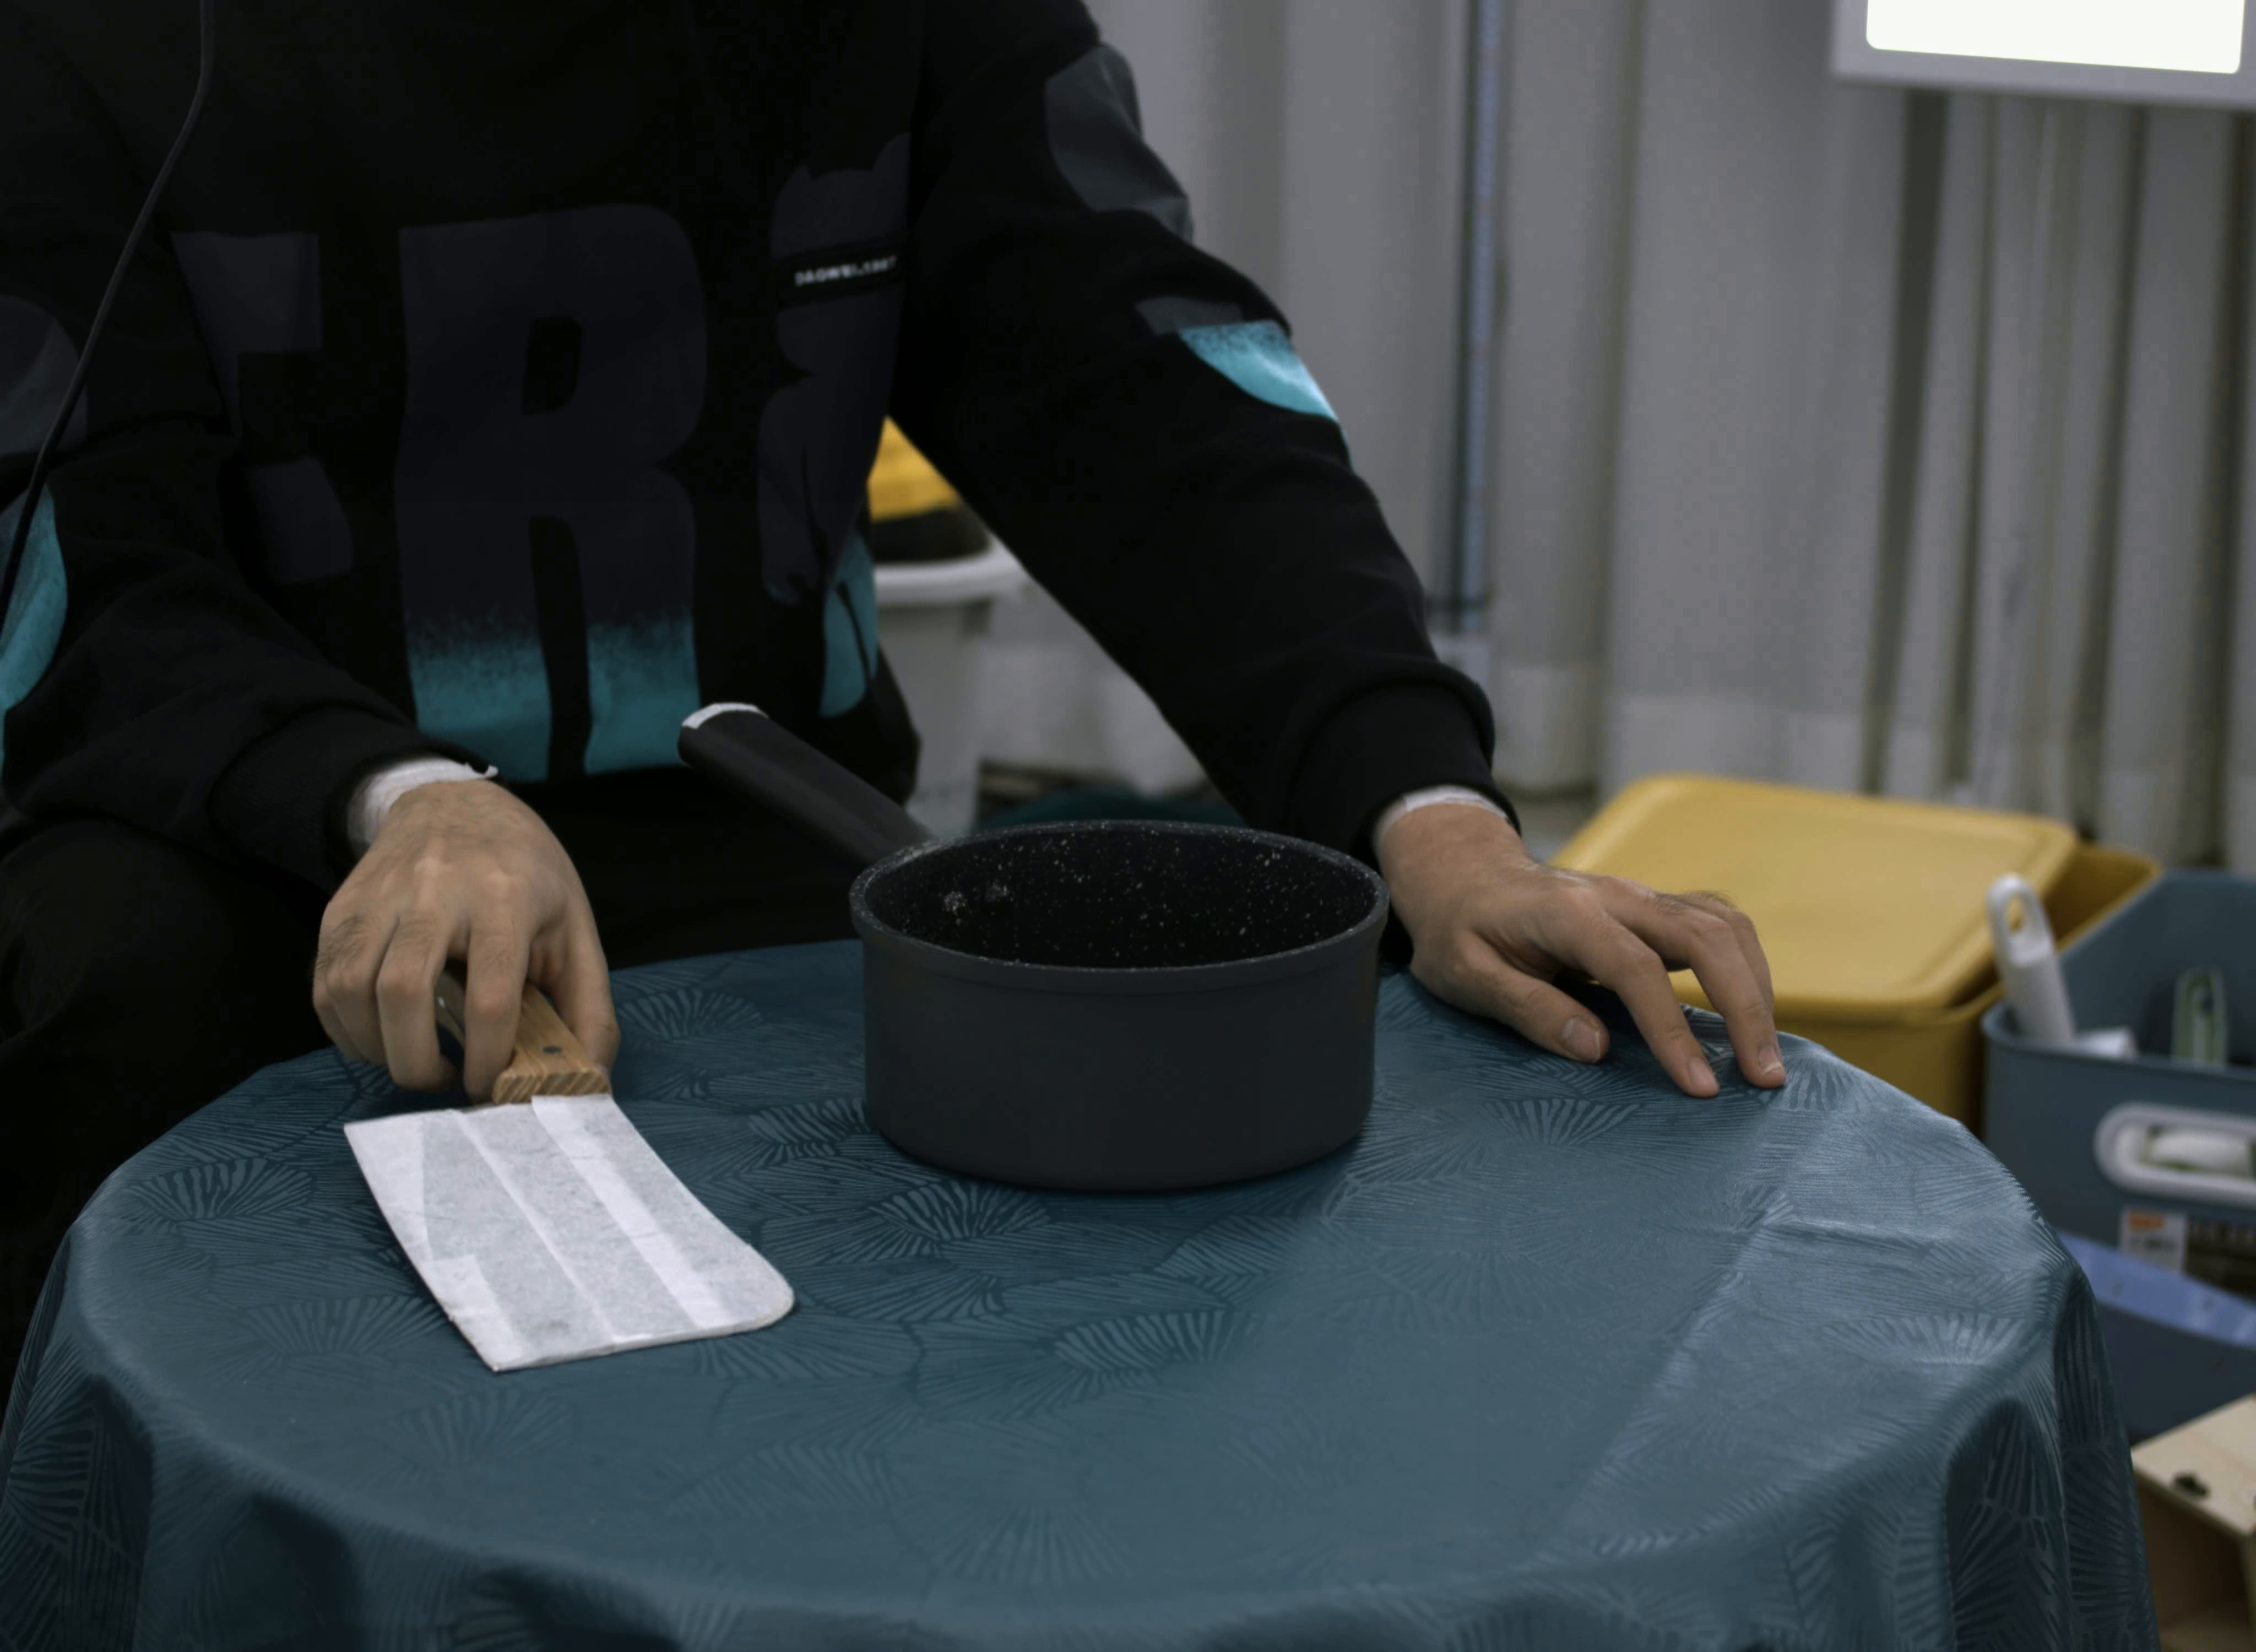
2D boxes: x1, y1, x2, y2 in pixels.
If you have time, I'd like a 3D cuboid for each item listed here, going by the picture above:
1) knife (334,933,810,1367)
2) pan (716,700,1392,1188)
[{"bbox_3d":[-0.184,0.097,1.622,0.114,0.022,0.312,-4,21,-18],"label":"knife"},{"bbox_3d":[-0.046,0.035,1.740,0.173,0.087,0.324,-8,18,-33],"label":"pan"}]
